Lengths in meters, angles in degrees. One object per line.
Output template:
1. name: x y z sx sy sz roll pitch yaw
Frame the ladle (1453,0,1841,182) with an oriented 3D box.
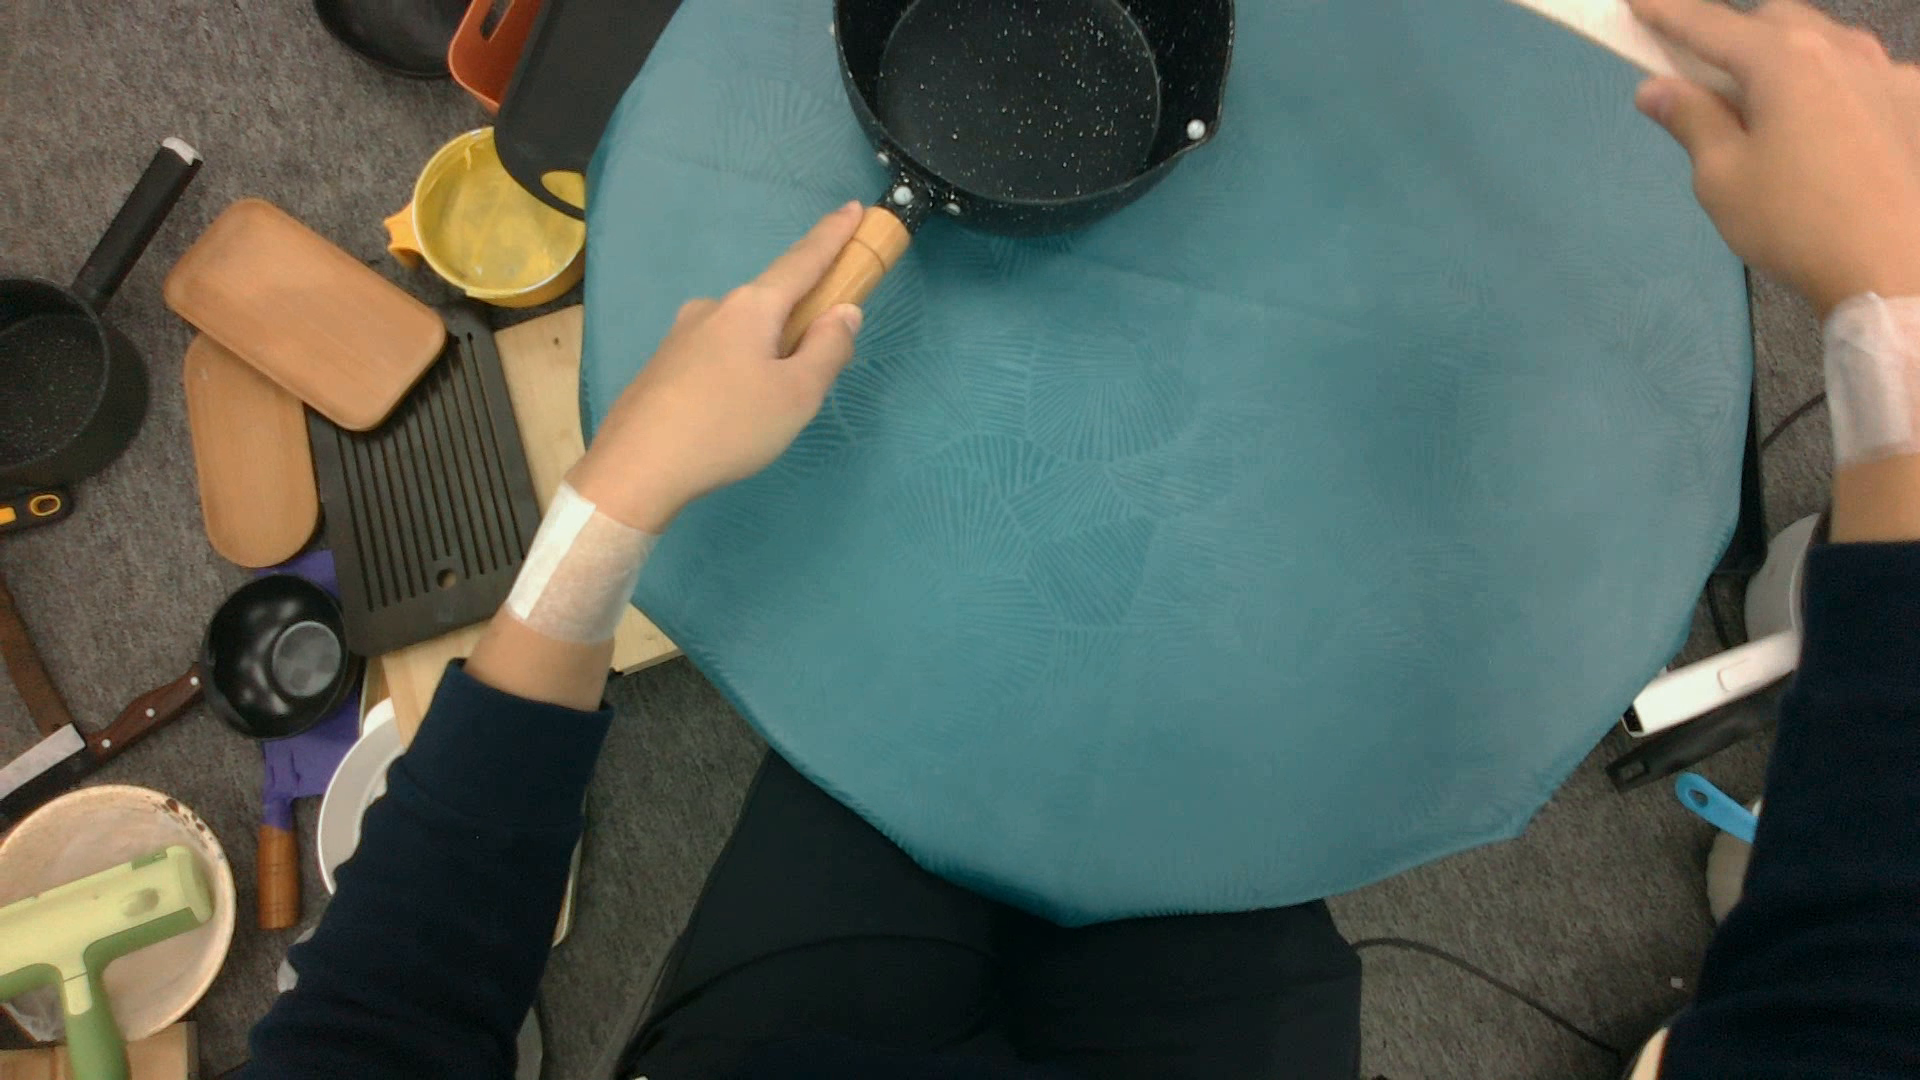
1. ladle: 0.232 -0.230 0.565 0.089 0.069 0.275 -48 60 -1

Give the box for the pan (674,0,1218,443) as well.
1. pan: -0.017 -0.175 0.651 0.207 0.108 0.343 33 80 1
